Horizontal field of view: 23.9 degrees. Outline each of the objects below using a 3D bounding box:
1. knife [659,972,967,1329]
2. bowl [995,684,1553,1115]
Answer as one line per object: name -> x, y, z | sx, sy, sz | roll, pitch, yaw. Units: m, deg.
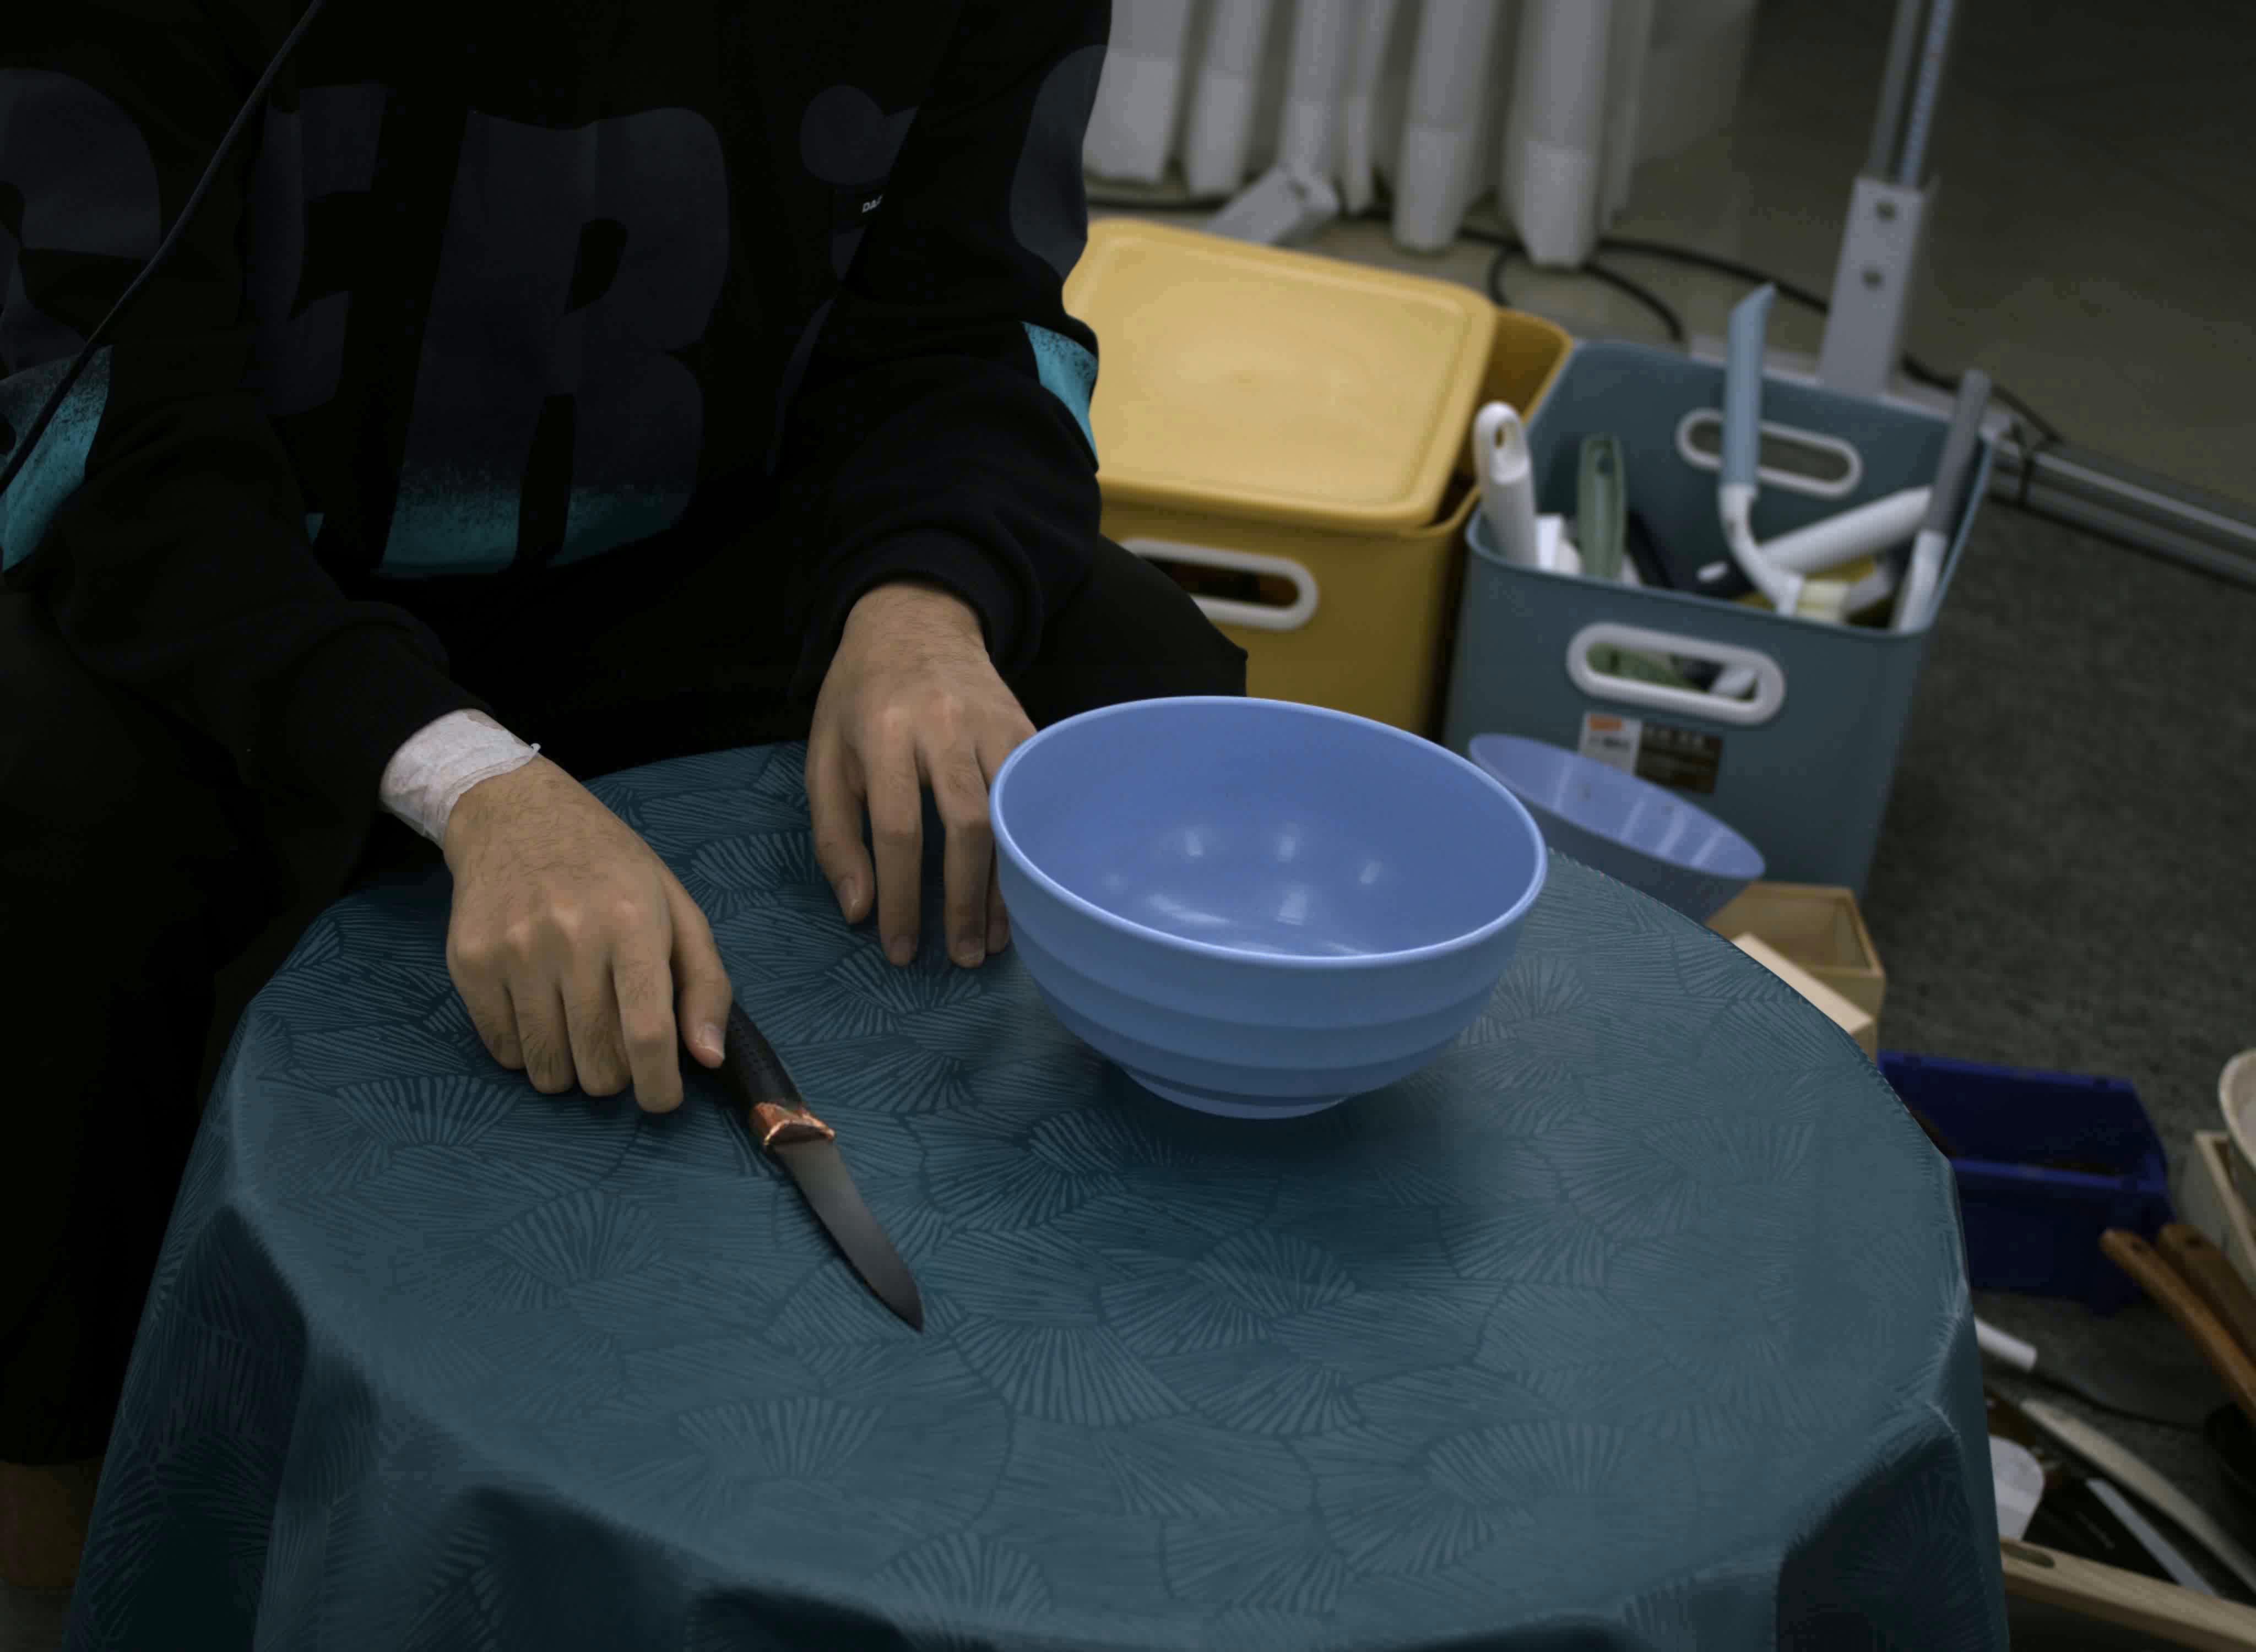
knife -> -0.109, 0.108, 1.796 | 0.026, 0.017, 0.227 | -2, 29, -29
bowl -> 0.045, 0.038, 1.871 | 0.196, 0.095, 0.198 | 7, 29, -4
